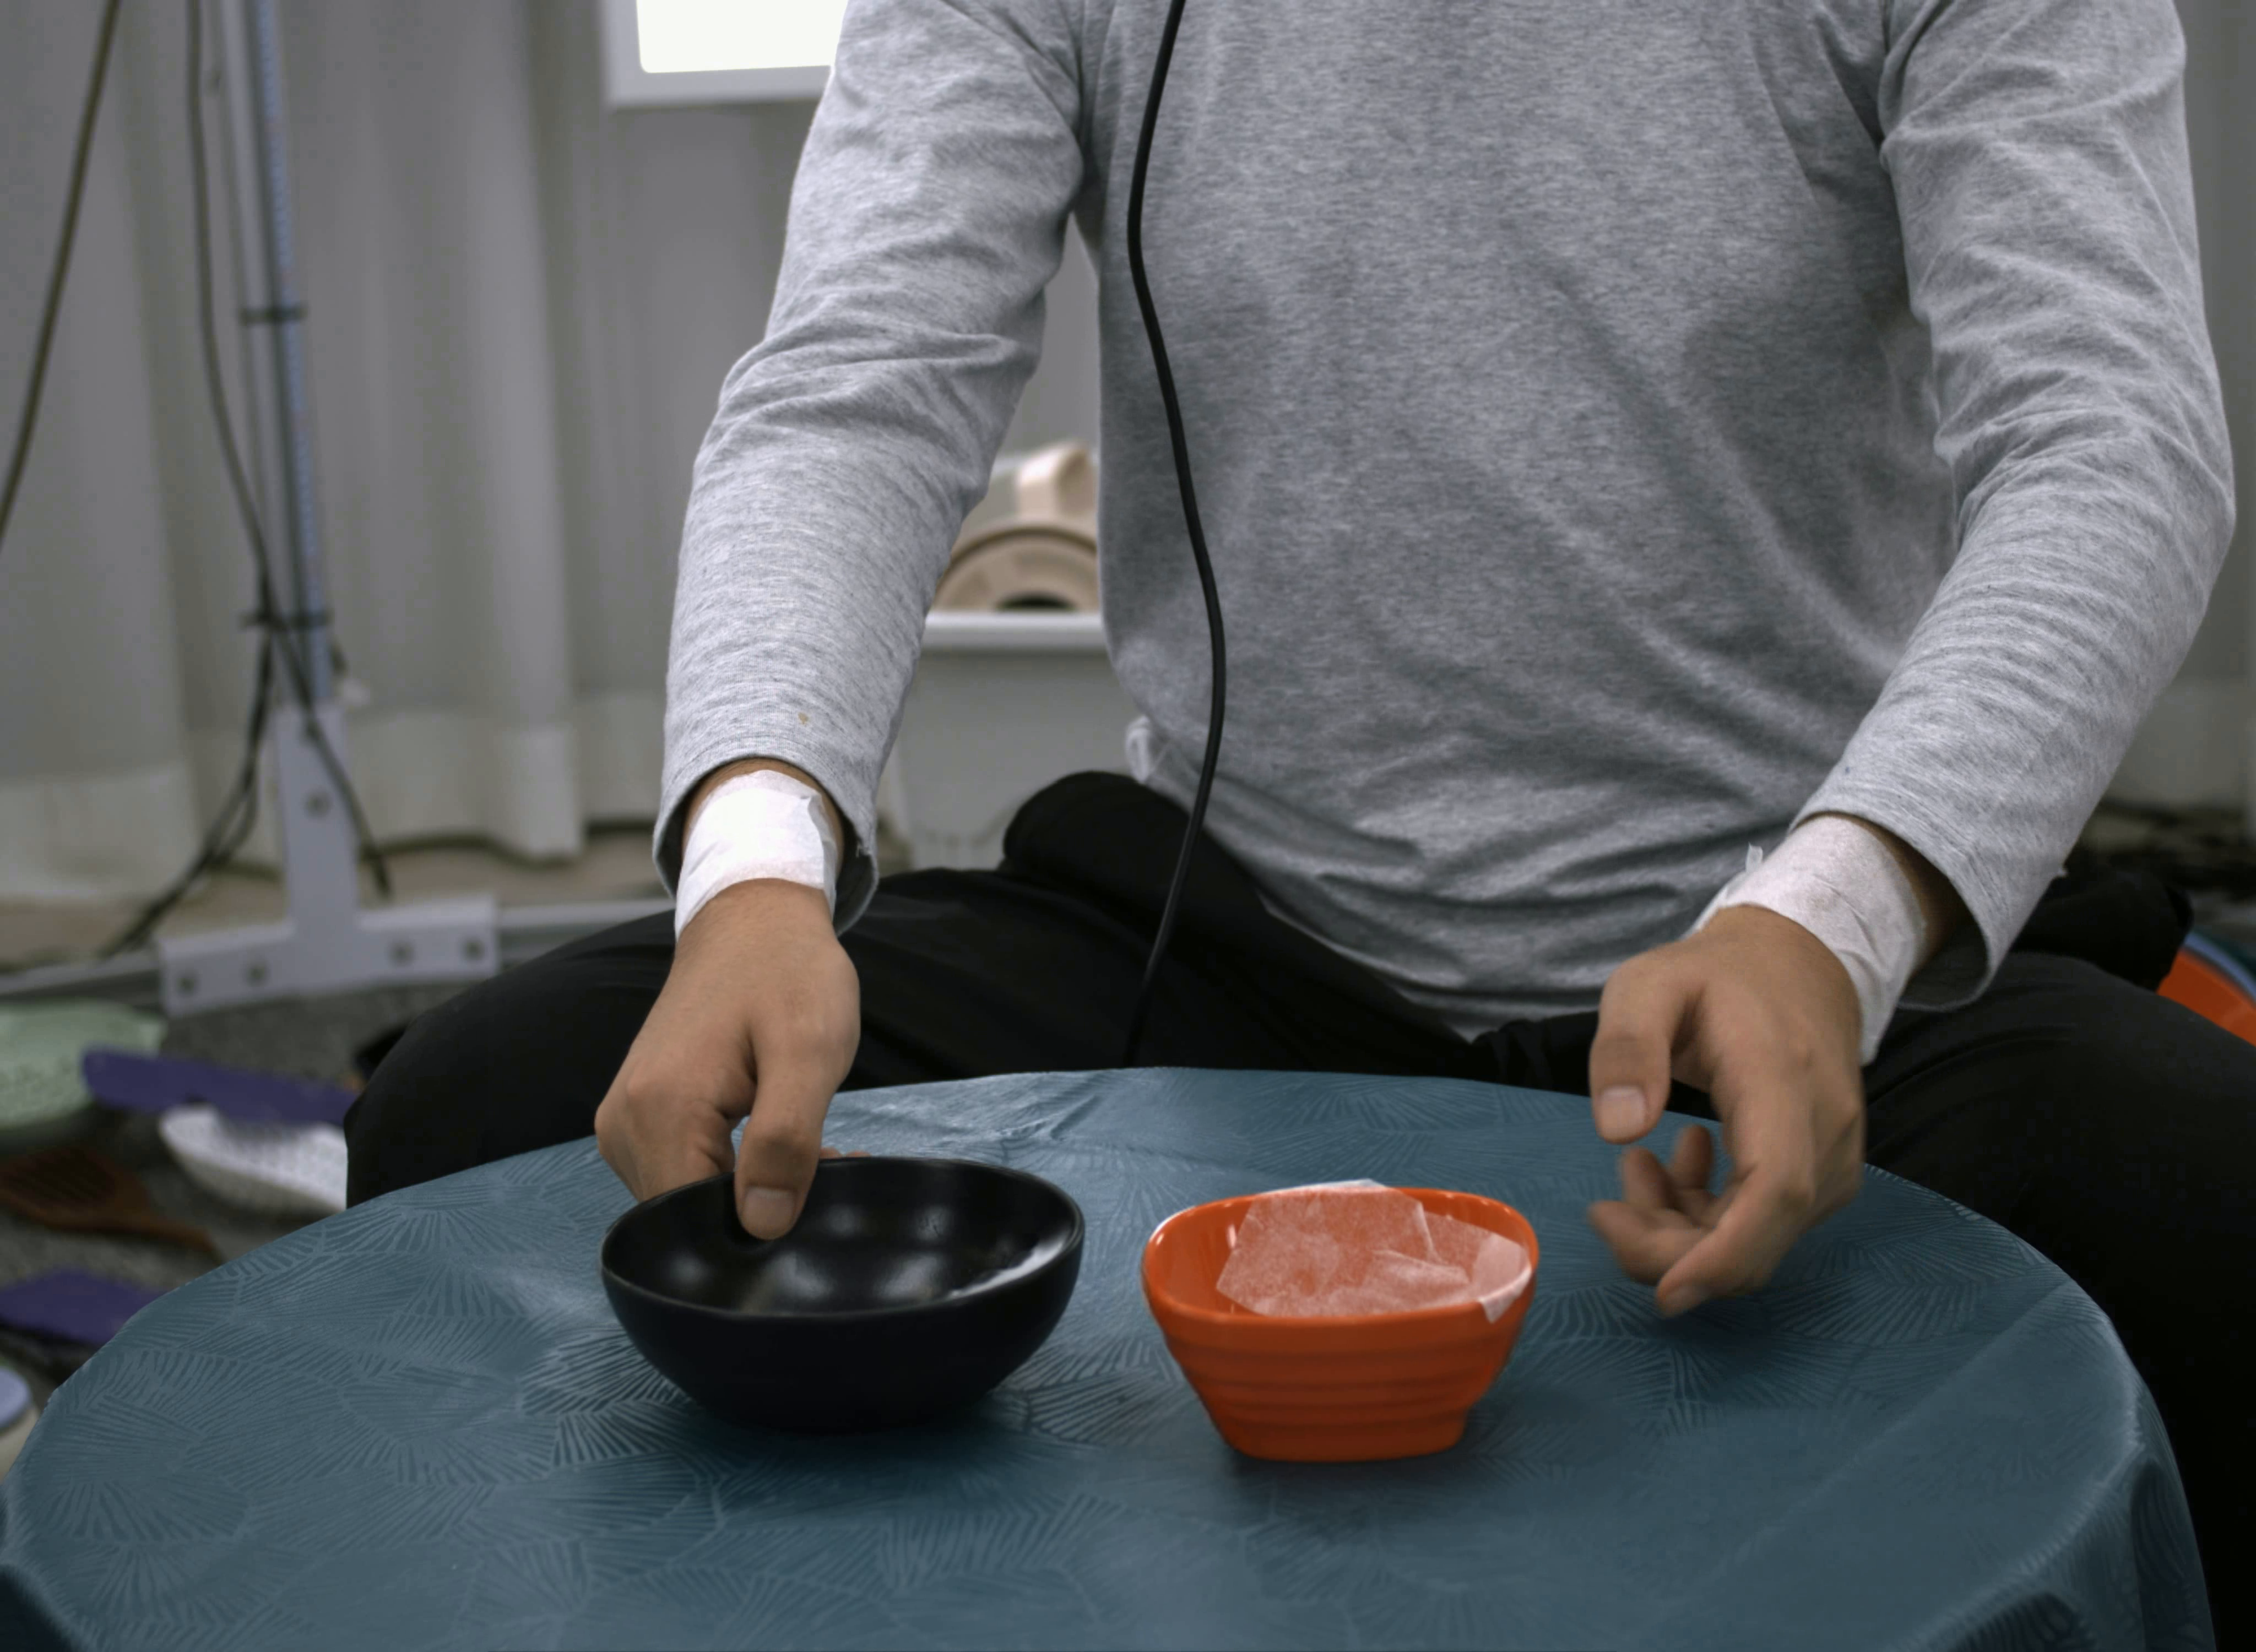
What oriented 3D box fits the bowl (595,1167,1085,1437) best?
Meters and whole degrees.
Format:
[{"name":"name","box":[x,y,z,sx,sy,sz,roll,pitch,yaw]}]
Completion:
[{"name":"bowl","box":[-0.081,0.139,1.550,0.139,0.049,0.141,-2,12,0]}]

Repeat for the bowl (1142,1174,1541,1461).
[{"name":"bowl","box":[0.060,0.139,1.511,0.118,0.051,0.120,-4,17,1]}]
